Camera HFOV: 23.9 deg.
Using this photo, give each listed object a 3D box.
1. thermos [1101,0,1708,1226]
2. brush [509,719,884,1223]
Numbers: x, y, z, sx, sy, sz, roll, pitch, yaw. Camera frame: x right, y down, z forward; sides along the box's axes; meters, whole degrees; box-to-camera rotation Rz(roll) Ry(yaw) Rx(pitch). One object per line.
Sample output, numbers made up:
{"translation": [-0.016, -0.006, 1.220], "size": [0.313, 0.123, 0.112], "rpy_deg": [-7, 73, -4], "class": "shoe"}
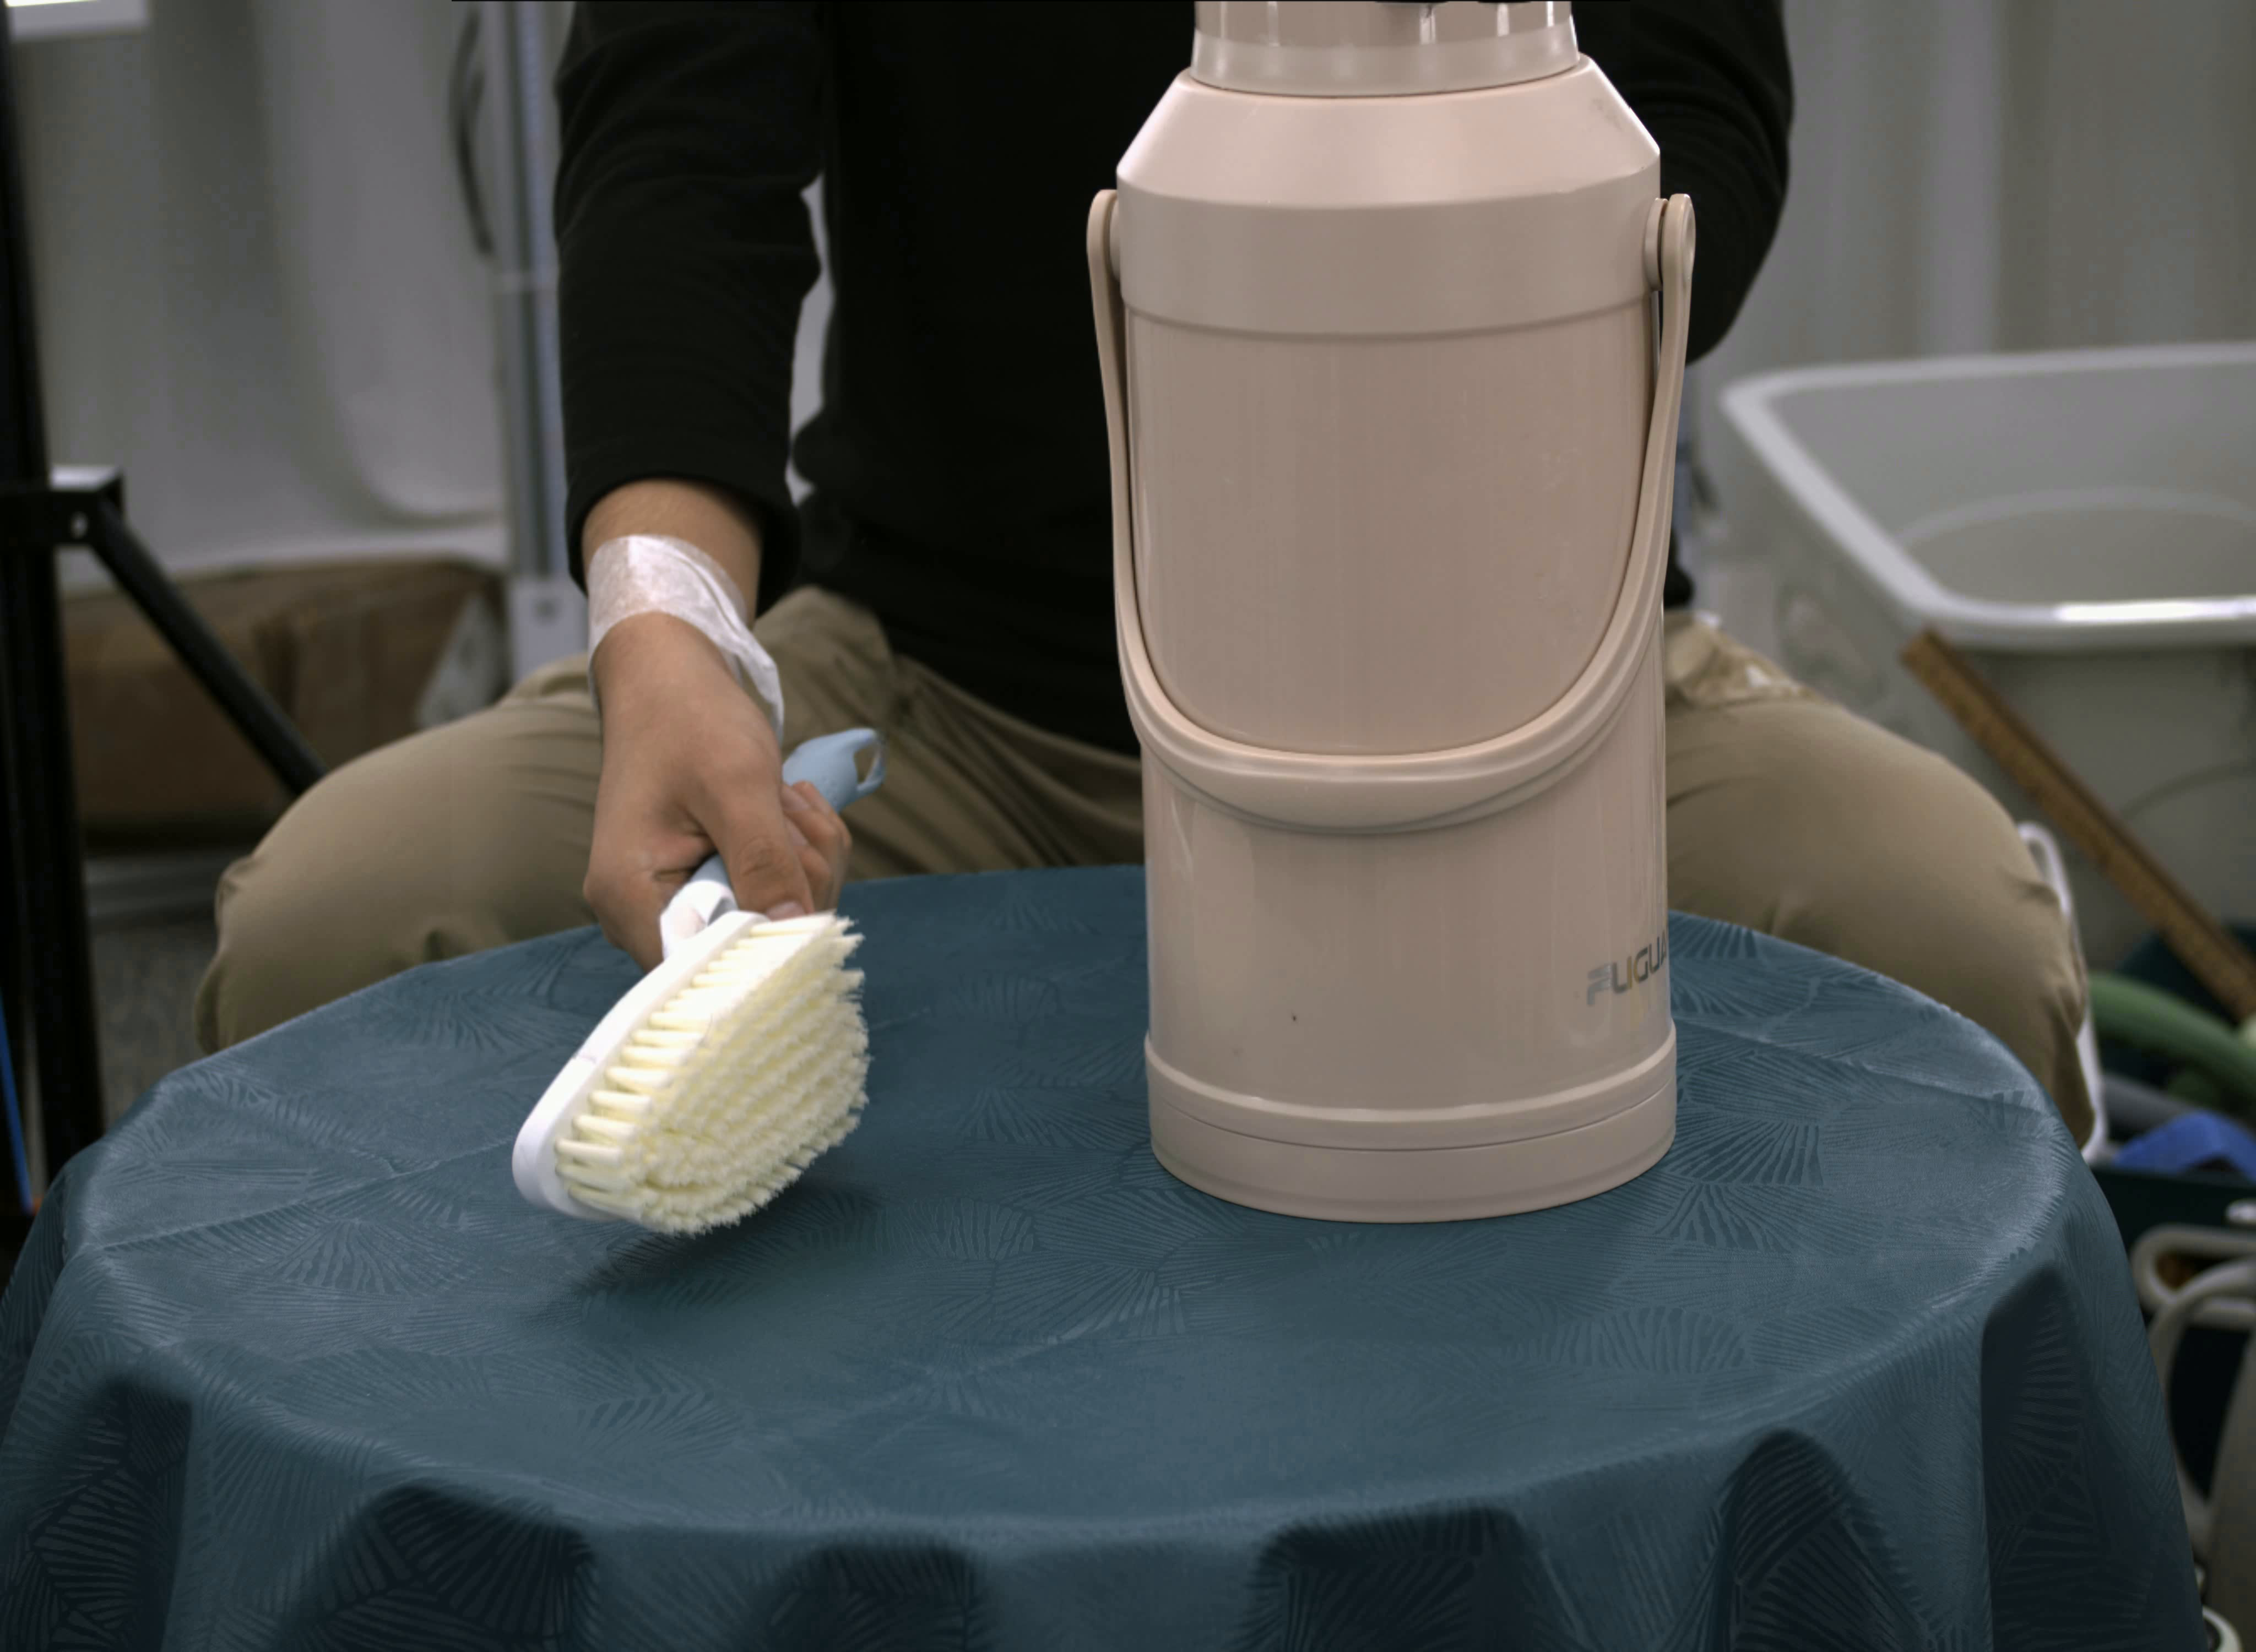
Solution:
{"translation": [0.087, -0.101, 1.556], "size": [0.177, 0.406, 0.205], "rpy_deg": [1, 16, 17], "class": "thermos"}
{"translation": [-0.098, 0.031, 1.625], "size": [0.084, 0.083, 0.323], "rpy_deg": [35, 27, -1], "class": "brush"}
